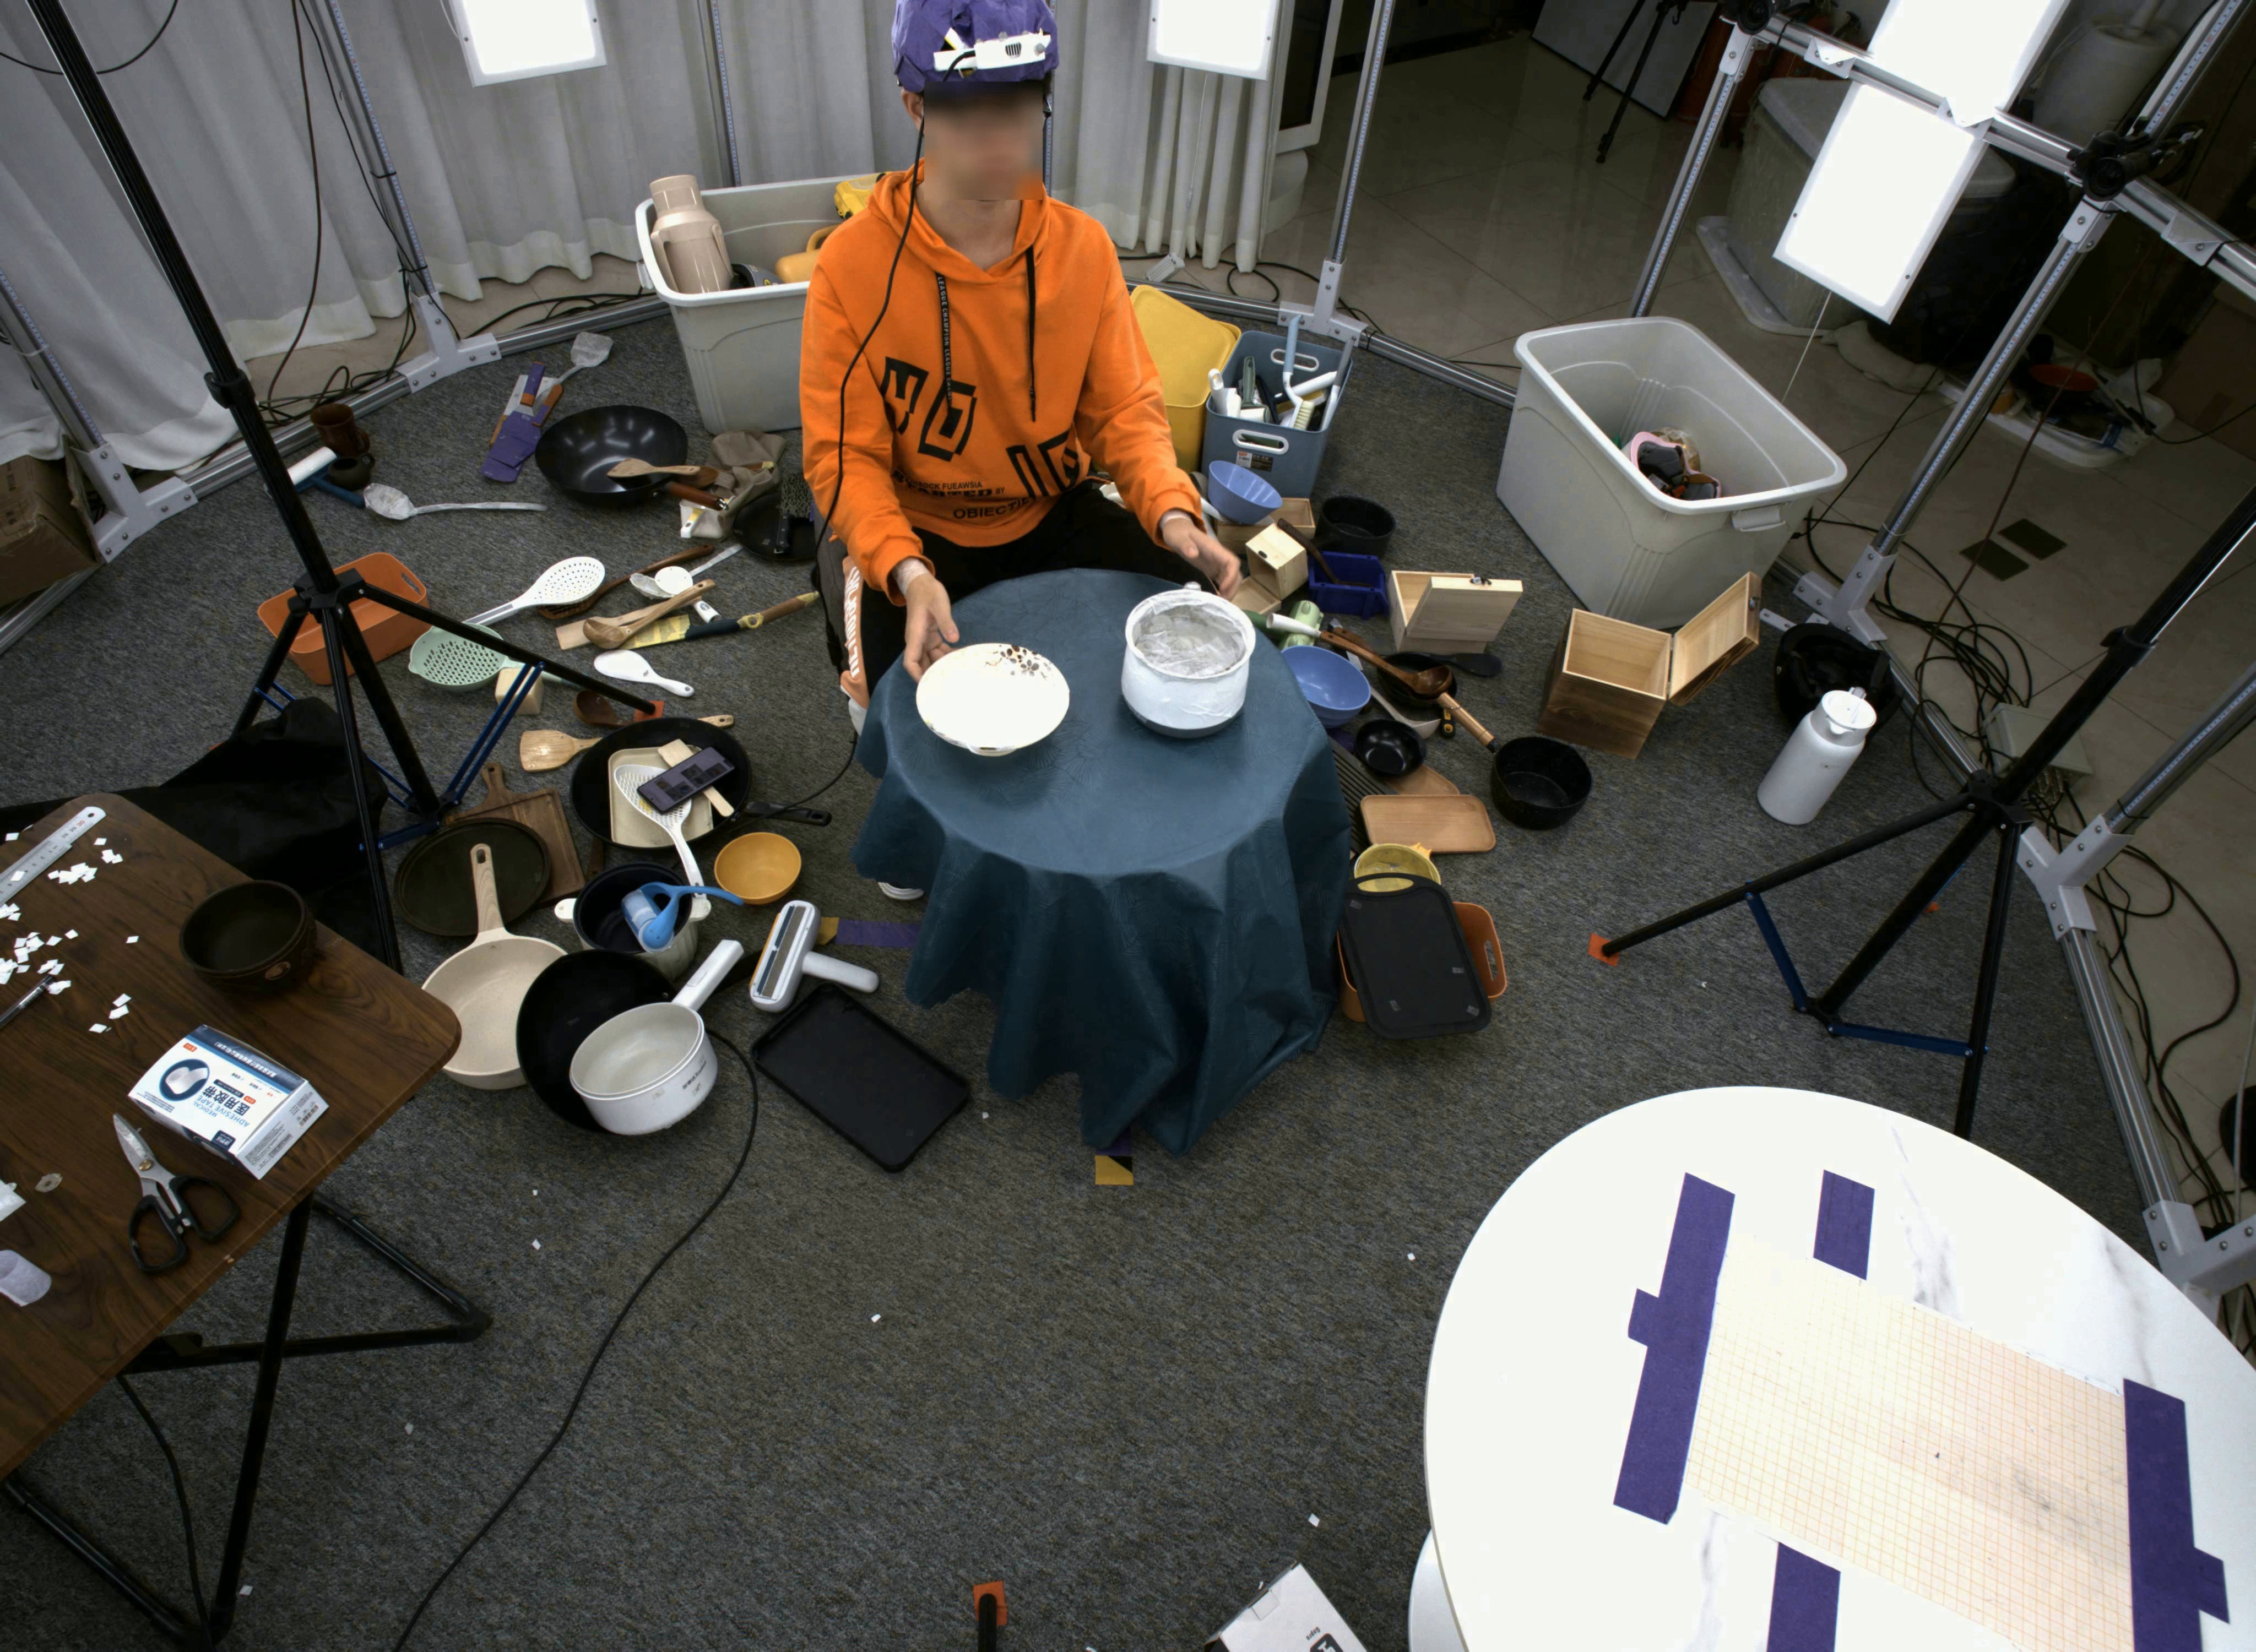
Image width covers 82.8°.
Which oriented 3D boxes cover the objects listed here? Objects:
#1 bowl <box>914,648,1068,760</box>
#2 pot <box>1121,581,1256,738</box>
[{"bbox_3d":[-0.183,-0.147,1.737,0.204,0.076,0.209,2,46,-2],"label":"bowl"},{"bbox_3d":[0.082,-0.242,1.795,0.178,0.133,0.239,4,50,-1],"label":"pot"}]
